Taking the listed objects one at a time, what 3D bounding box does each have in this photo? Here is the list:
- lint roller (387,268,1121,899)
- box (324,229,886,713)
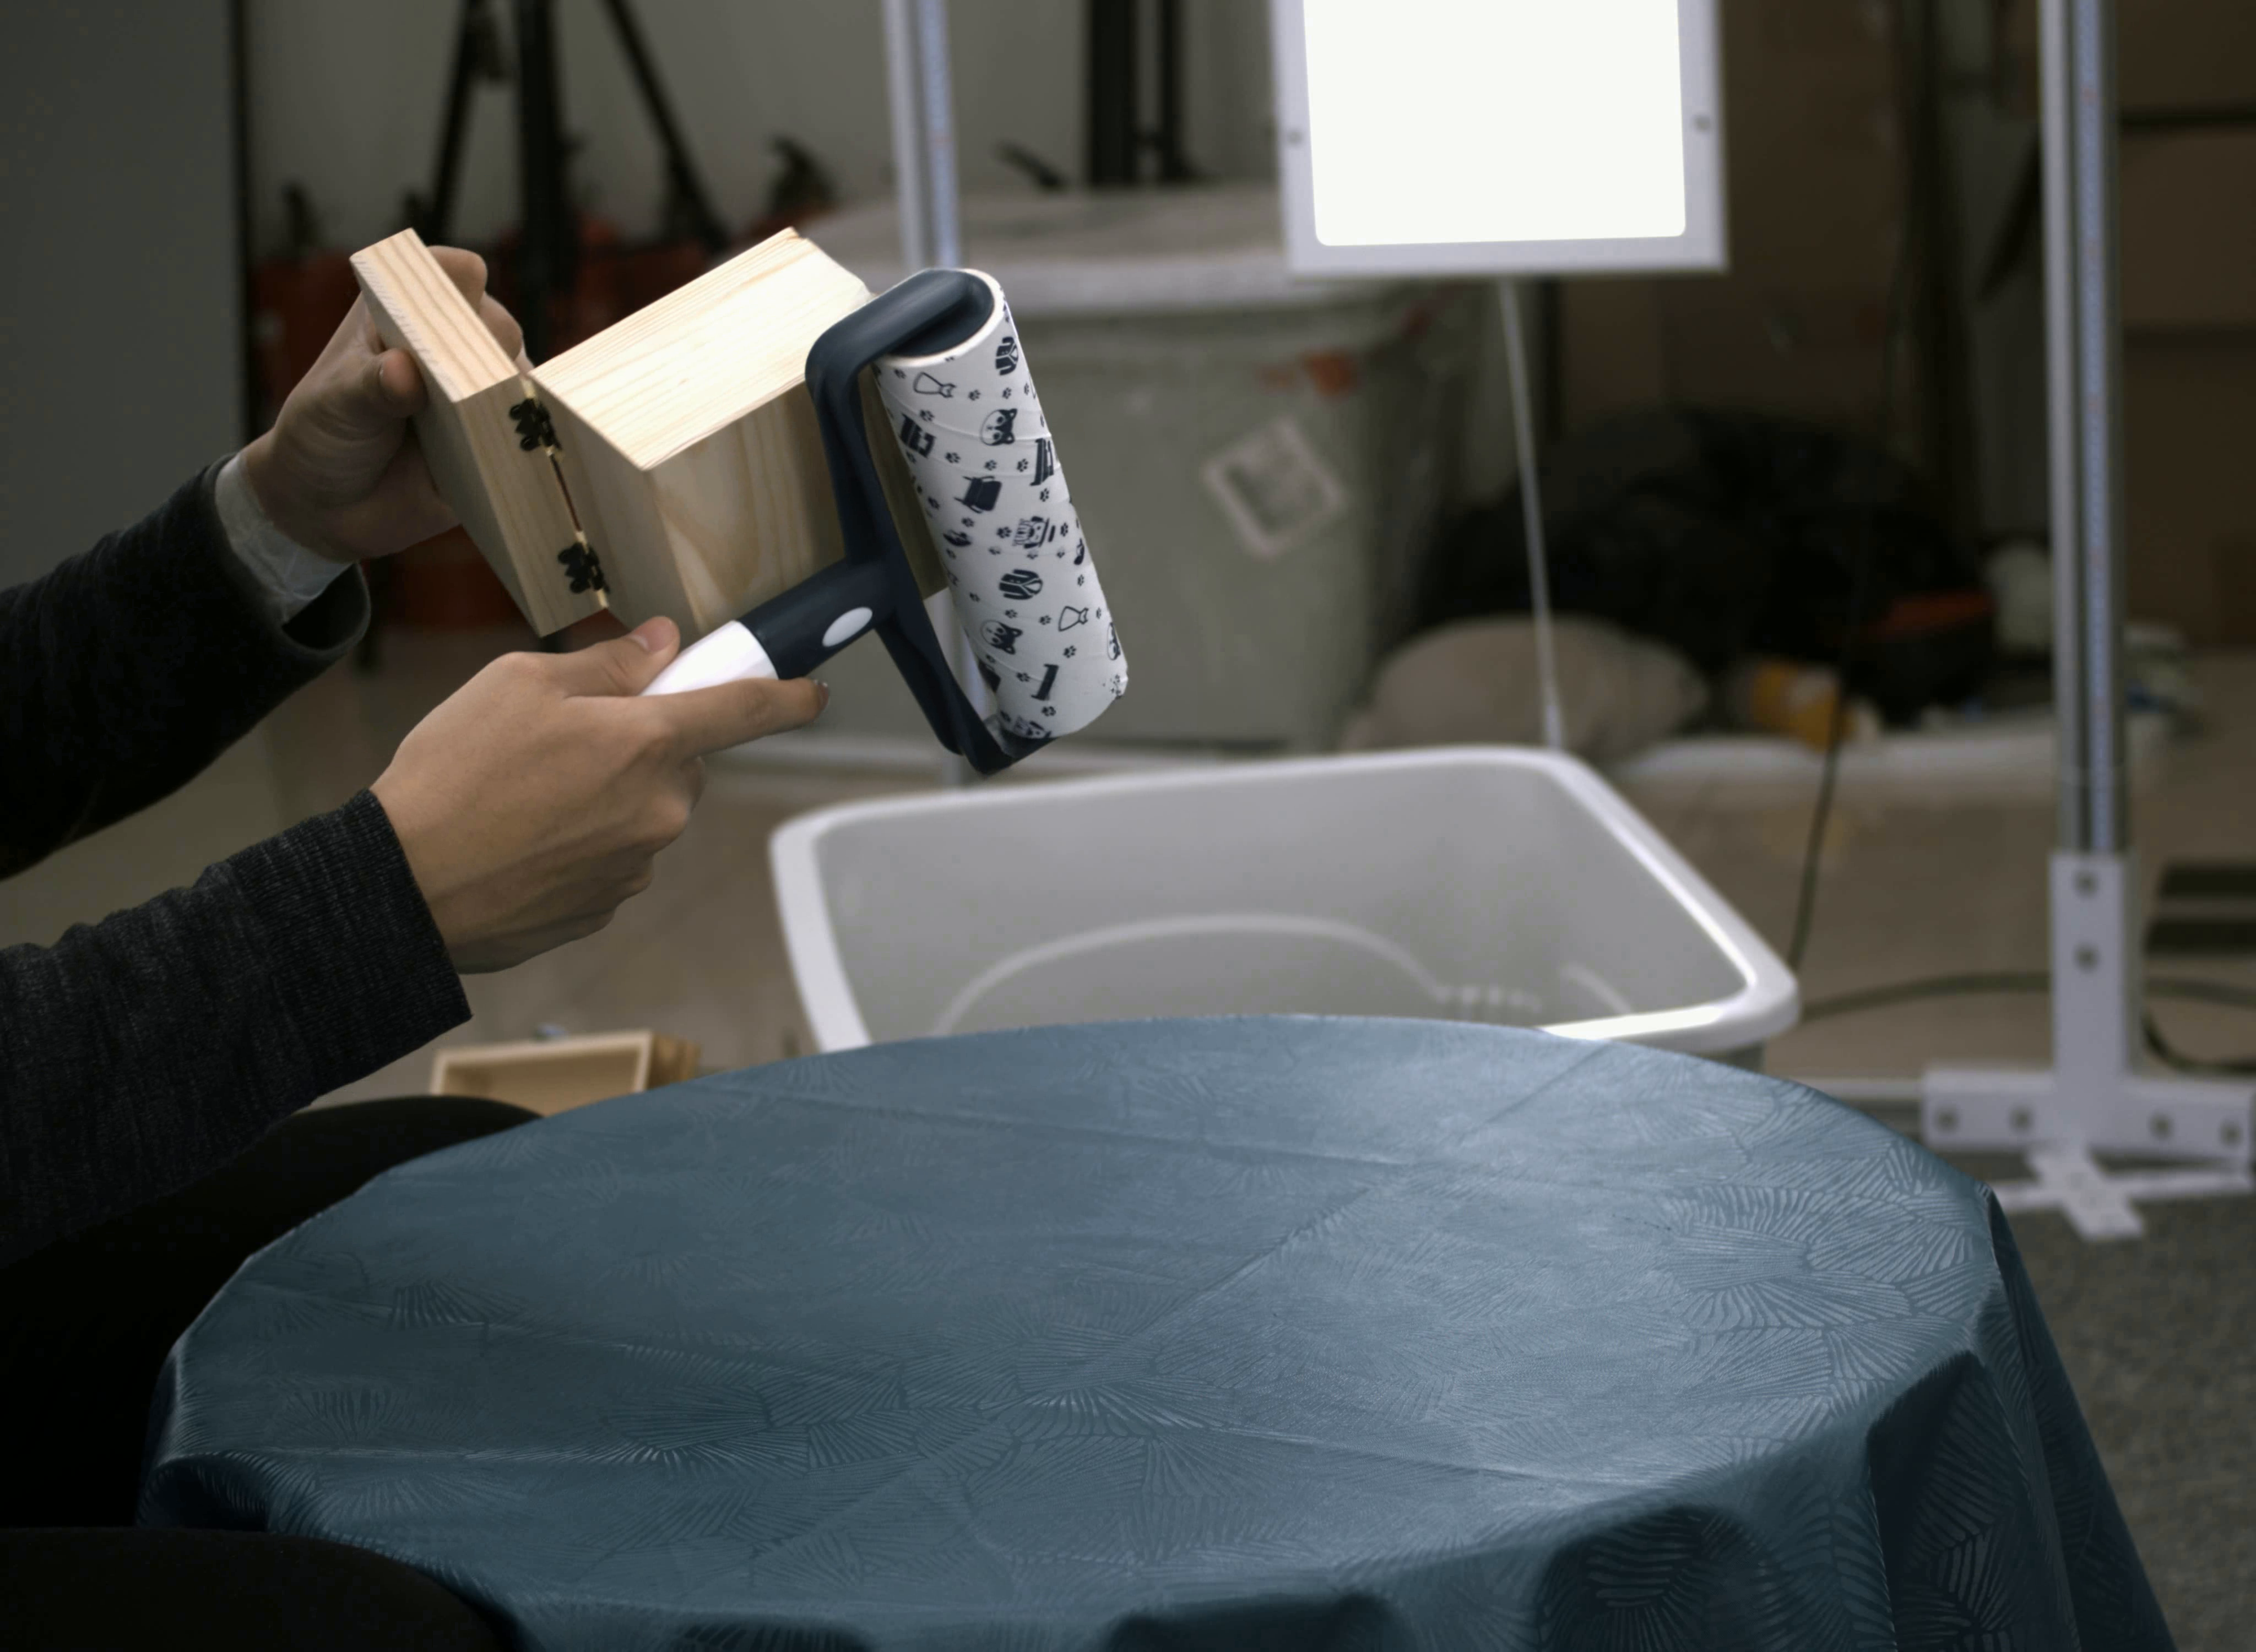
[{"bbox_3d":[-0.121,-0.045,1.722,0.244,0.175,0.051,-35,44,-14],"label":"lint roller"},{"bbox_3d":[-0.156,-0.133,1.802,0.132,0.102,0.187,-31,41,-17],"label":"box"}]
